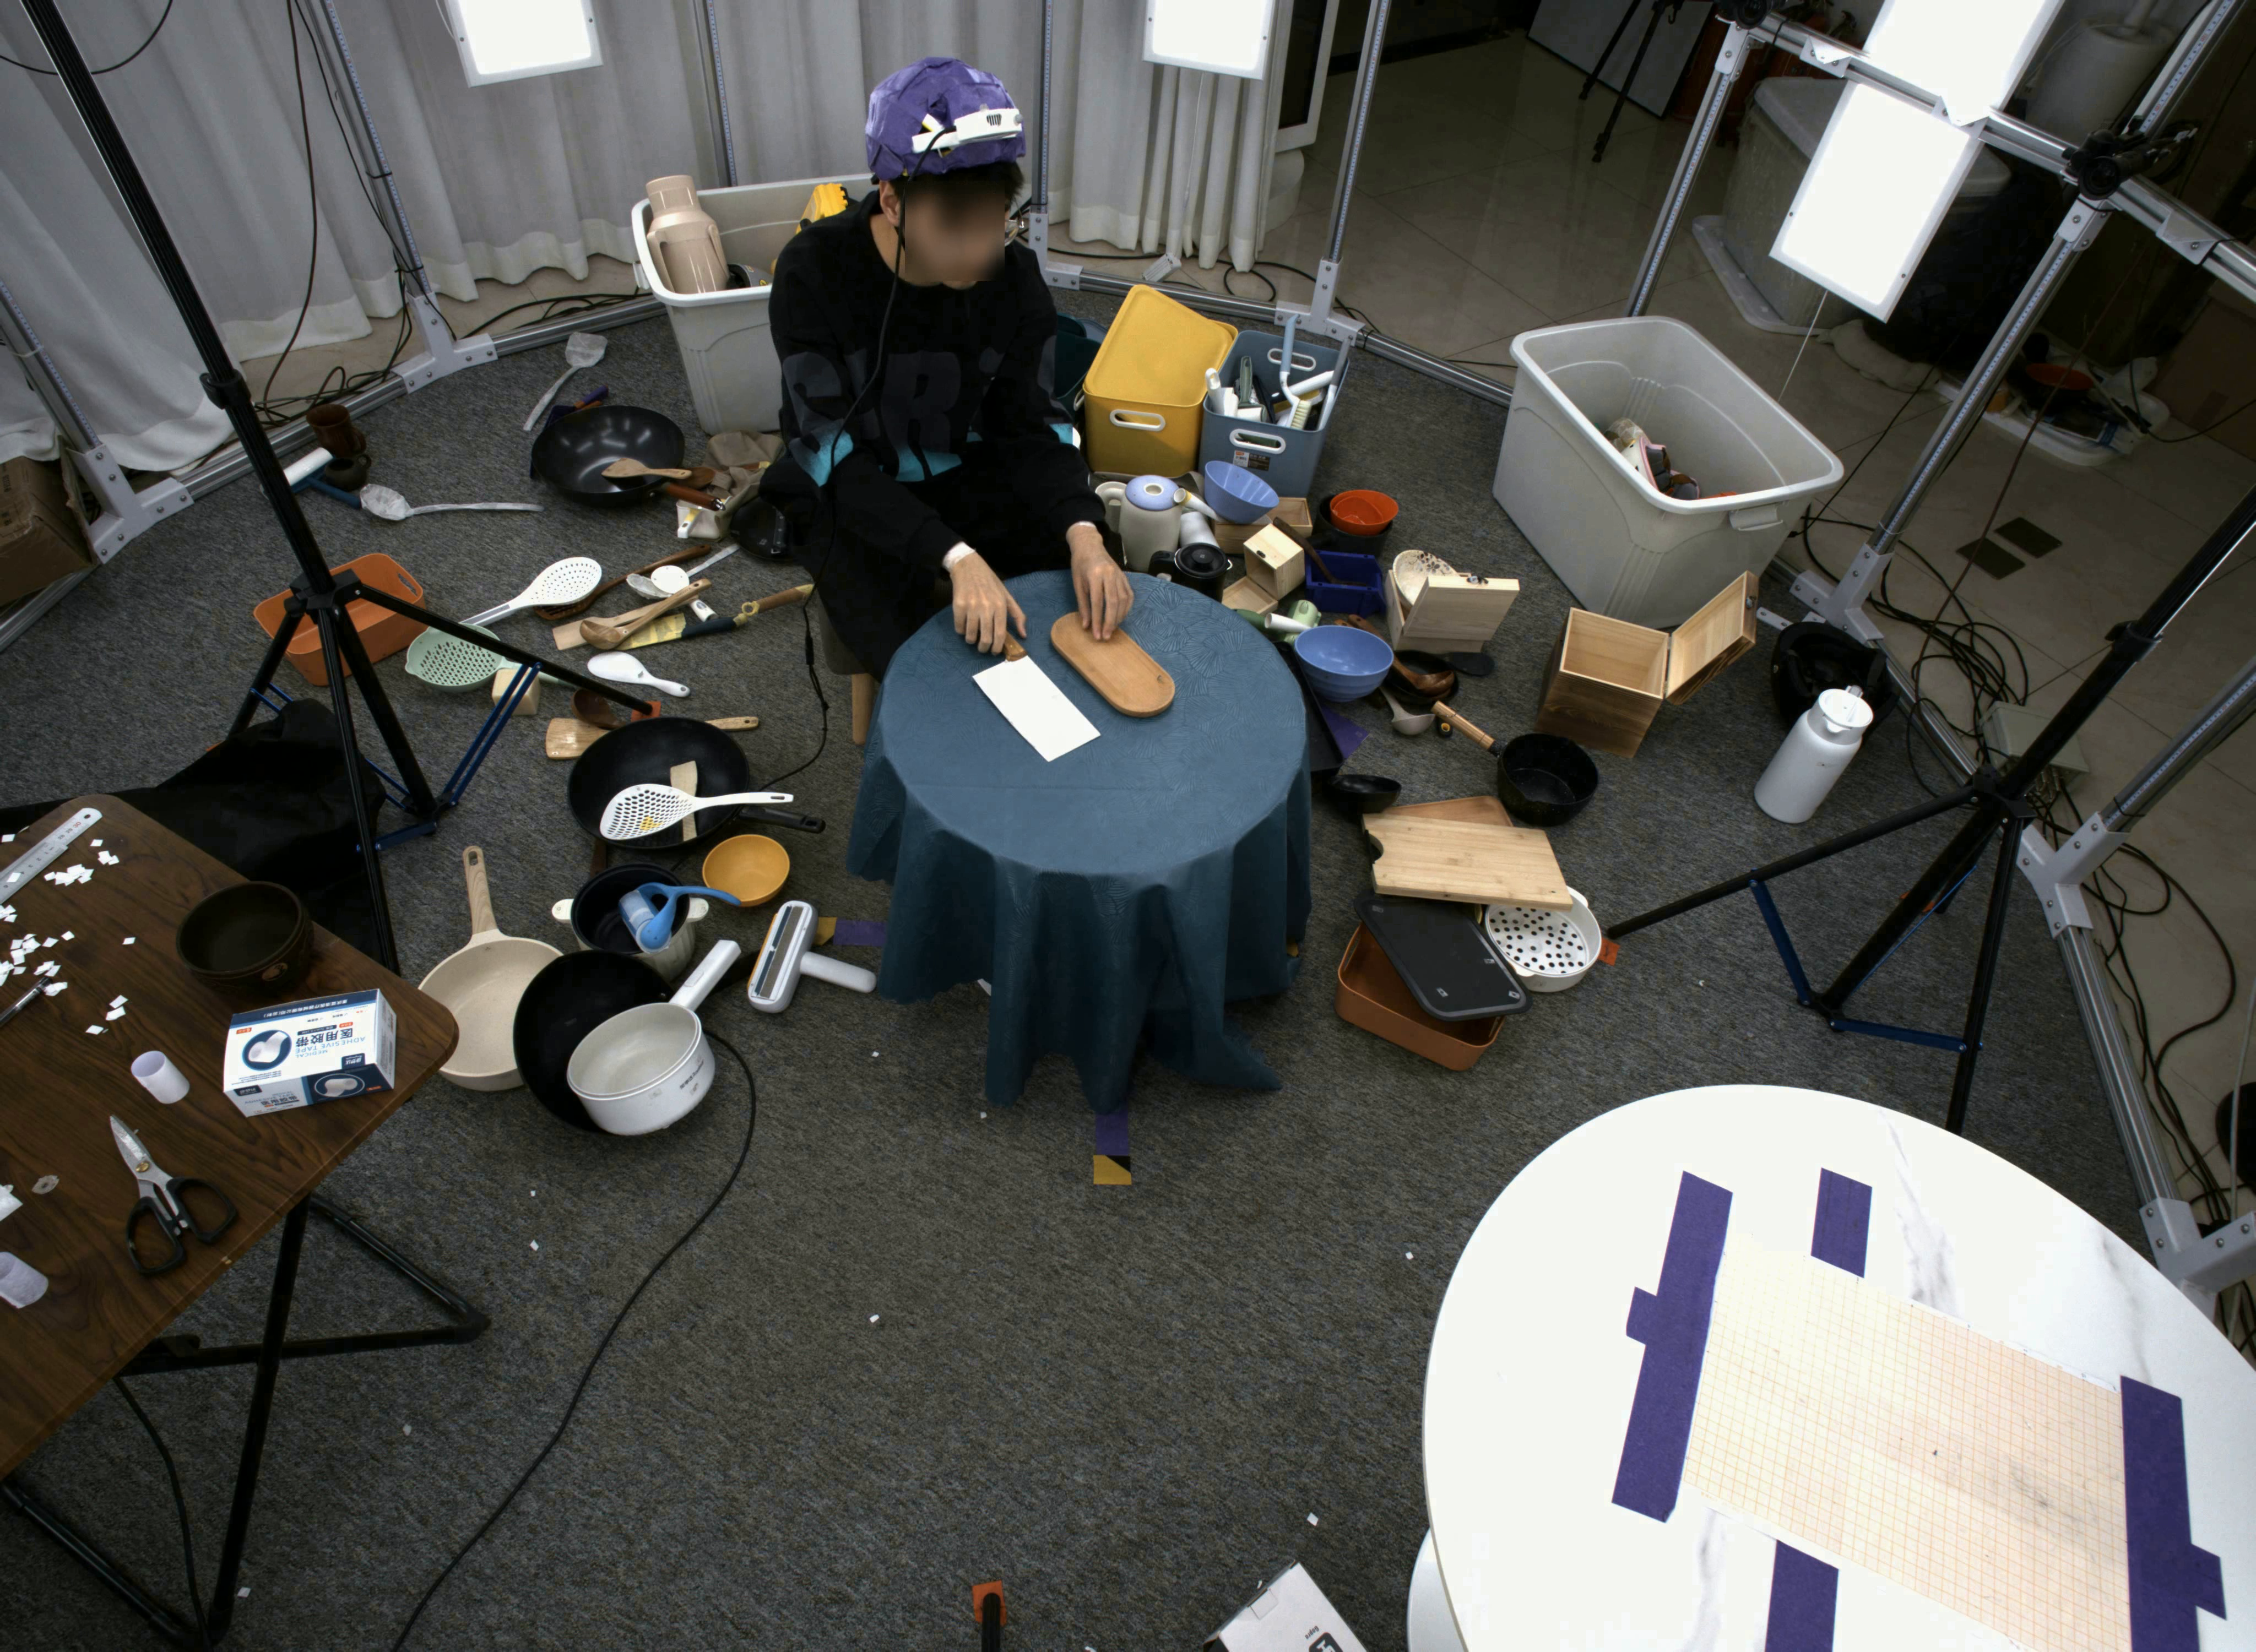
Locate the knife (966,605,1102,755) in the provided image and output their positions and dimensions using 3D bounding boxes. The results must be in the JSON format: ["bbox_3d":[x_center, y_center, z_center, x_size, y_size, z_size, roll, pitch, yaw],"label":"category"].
[{"bbox_3d":[-0.158,-0.208,1.829,0.093,0.020,0.311,-28,59,-23],"label":"knife"}]

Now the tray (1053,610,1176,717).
[{"bbox_3d":[-0.021,-0.238,1.863,0.102,0.020,0.235,-27,55,-25],"label":"tray"}]
